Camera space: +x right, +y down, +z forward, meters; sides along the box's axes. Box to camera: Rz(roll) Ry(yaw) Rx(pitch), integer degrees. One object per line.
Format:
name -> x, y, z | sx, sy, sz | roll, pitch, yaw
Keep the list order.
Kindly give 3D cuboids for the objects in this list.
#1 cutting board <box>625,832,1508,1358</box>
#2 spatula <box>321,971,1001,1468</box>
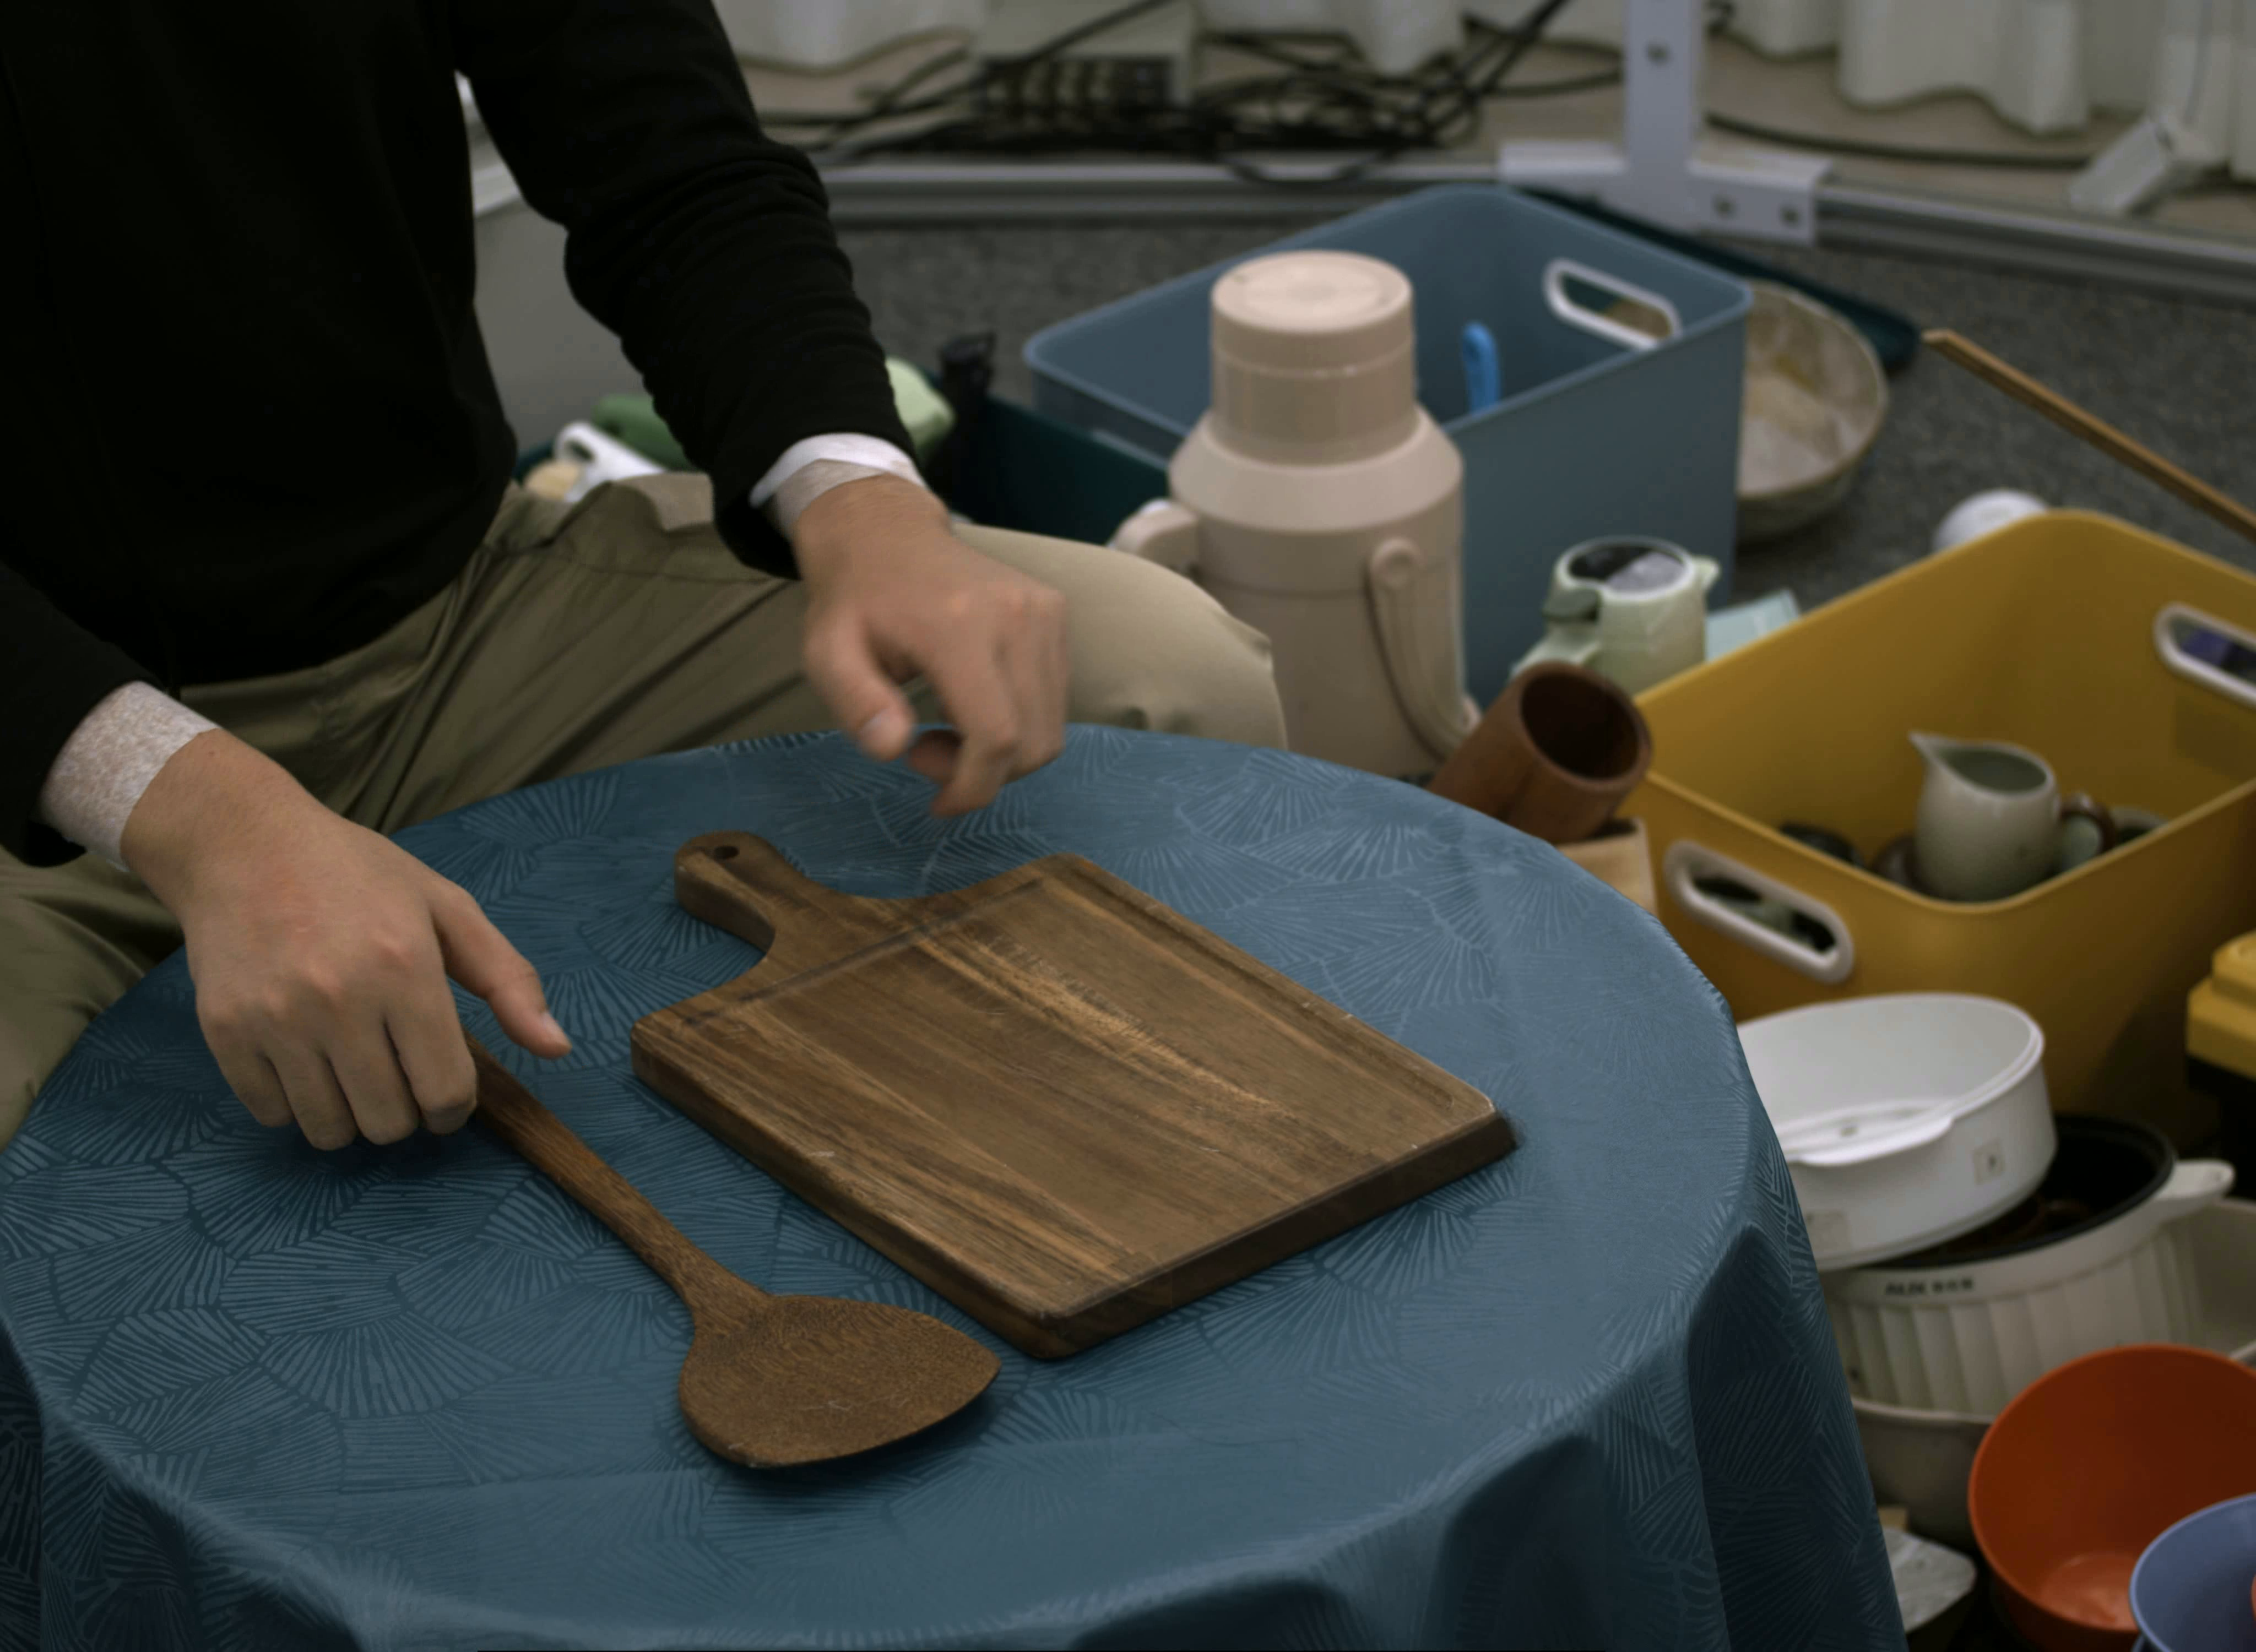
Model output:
cutting board -> -0.053, 0.072, 1.940 | 0.203, 0.023, 0.352 | -21, 33, -32
spatula -> -0.176, 0.122, 1.862 | 0.097, 0.015, 0.387 | -19, 31, -29
